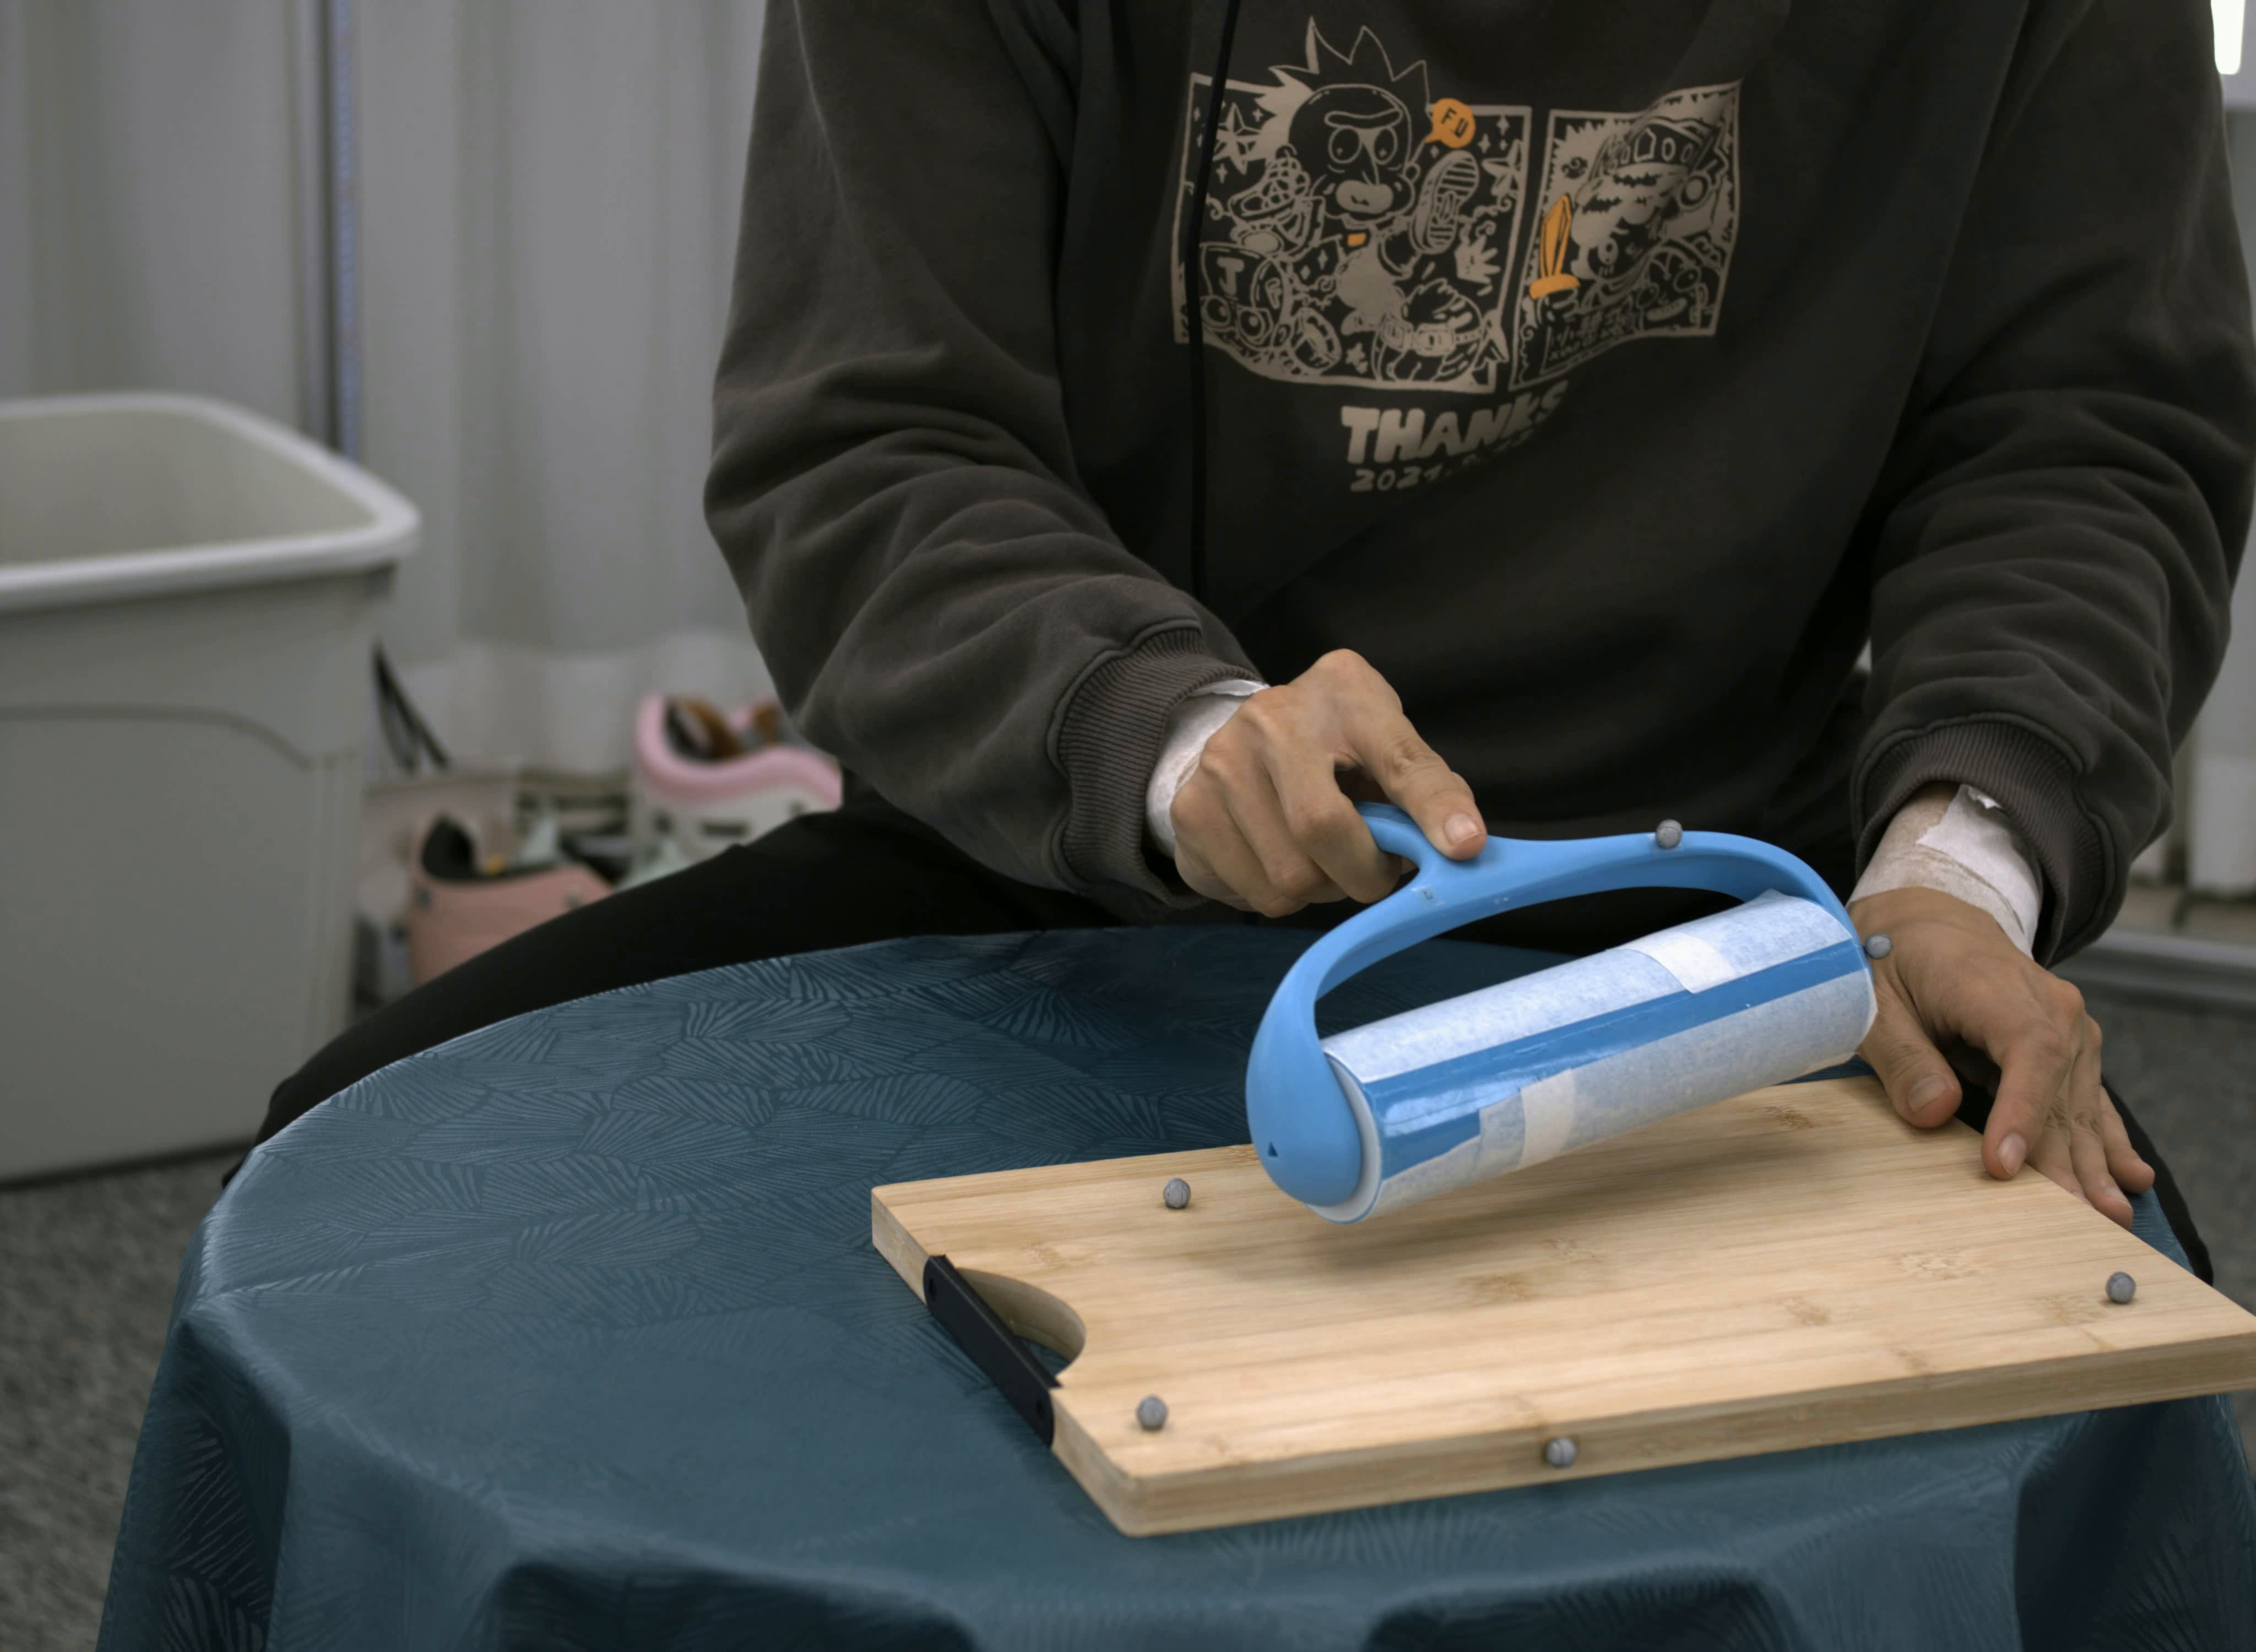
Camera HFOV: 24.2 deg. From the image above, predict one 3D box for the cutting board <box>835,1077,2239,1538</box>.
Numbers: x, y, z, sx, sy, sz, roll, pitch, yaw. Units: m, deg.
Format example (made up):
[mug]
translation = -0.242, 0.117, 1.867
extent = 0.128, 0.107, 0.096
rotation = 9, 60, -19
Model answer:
[cutting board]
translation = 0.114, 0.134, 1.528
extent = 0.349, 0.024, 0.248
rotation = -5, 16, -20

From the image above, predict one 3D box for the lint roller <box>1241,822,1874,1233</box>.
[lint roller]
translation = 0.098, 0.037, 1.590
extent = 0.230, 0.068, 0.178
rotation = -19, 46, -37
